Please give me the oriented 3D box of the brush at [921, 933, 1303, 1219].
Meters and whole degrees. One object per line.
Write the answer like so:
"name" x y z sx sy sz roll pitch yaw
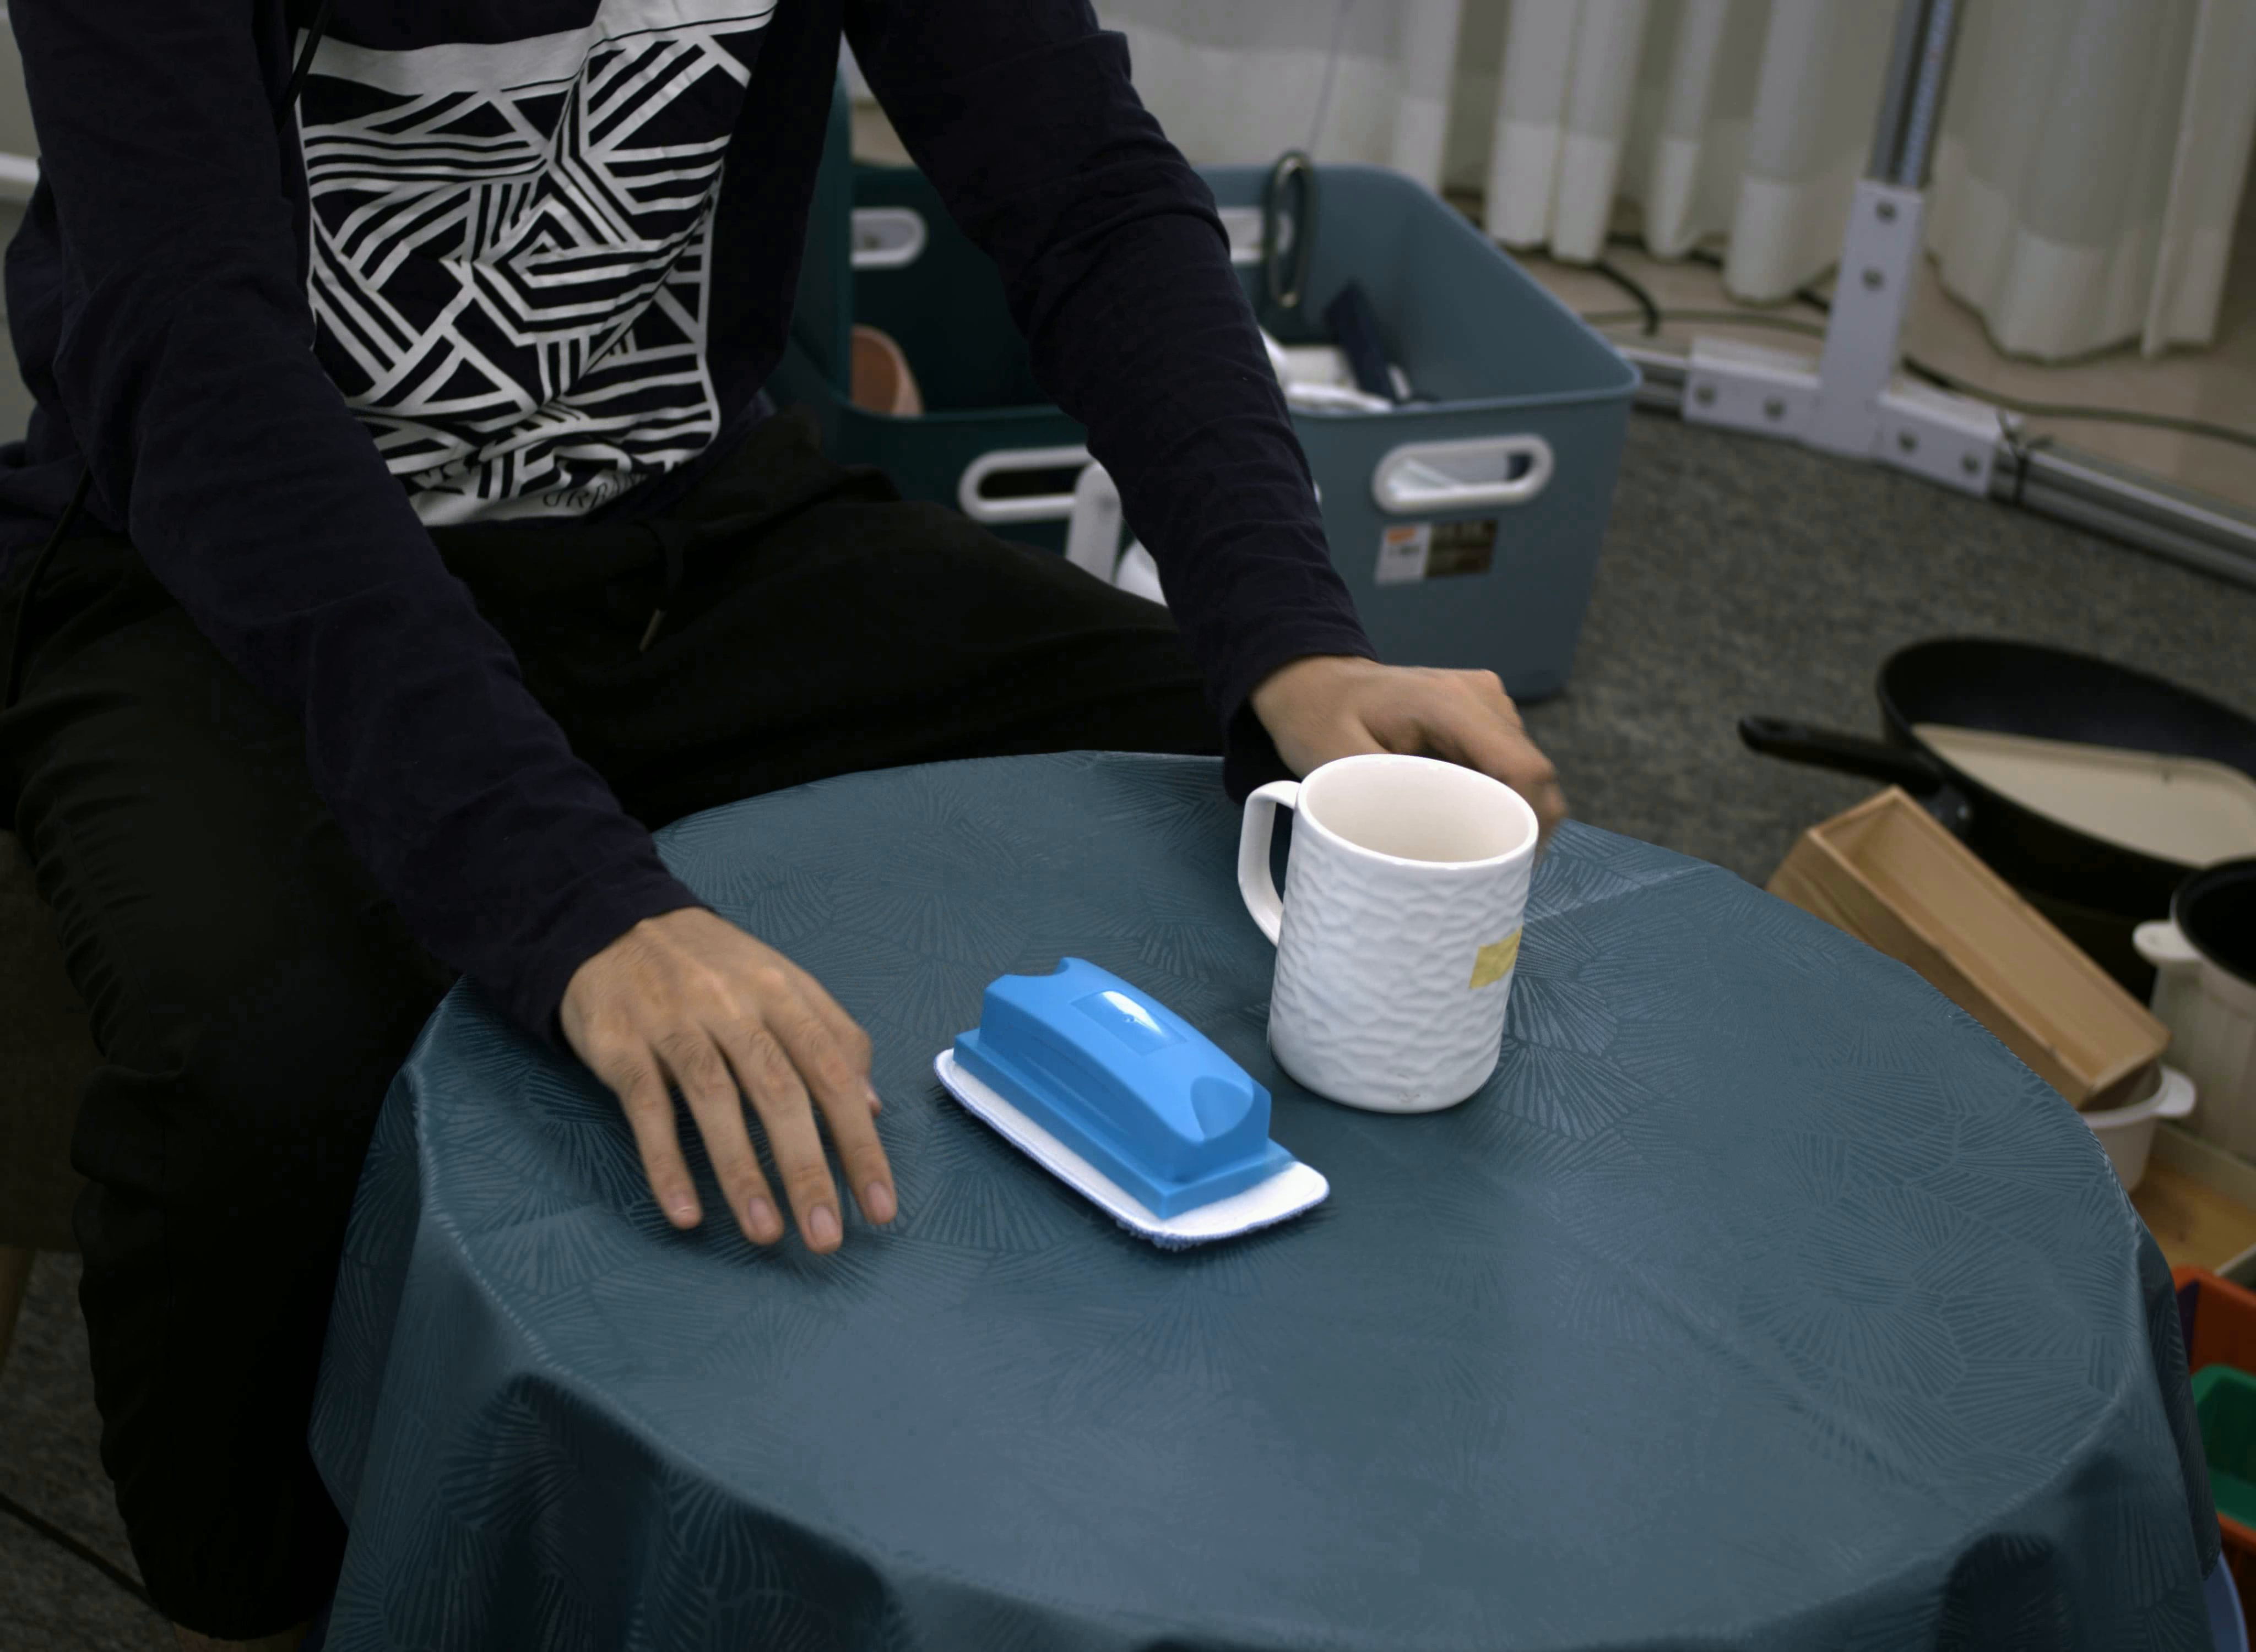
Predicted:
"brush" -0.003 0.081 1.822 0.083 0.056 0.145 -10 34 -35

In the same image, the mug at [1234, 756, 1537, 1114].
"mug" 0.084 0.033 1.892 0.119 0.101 0.084 27 33 36
